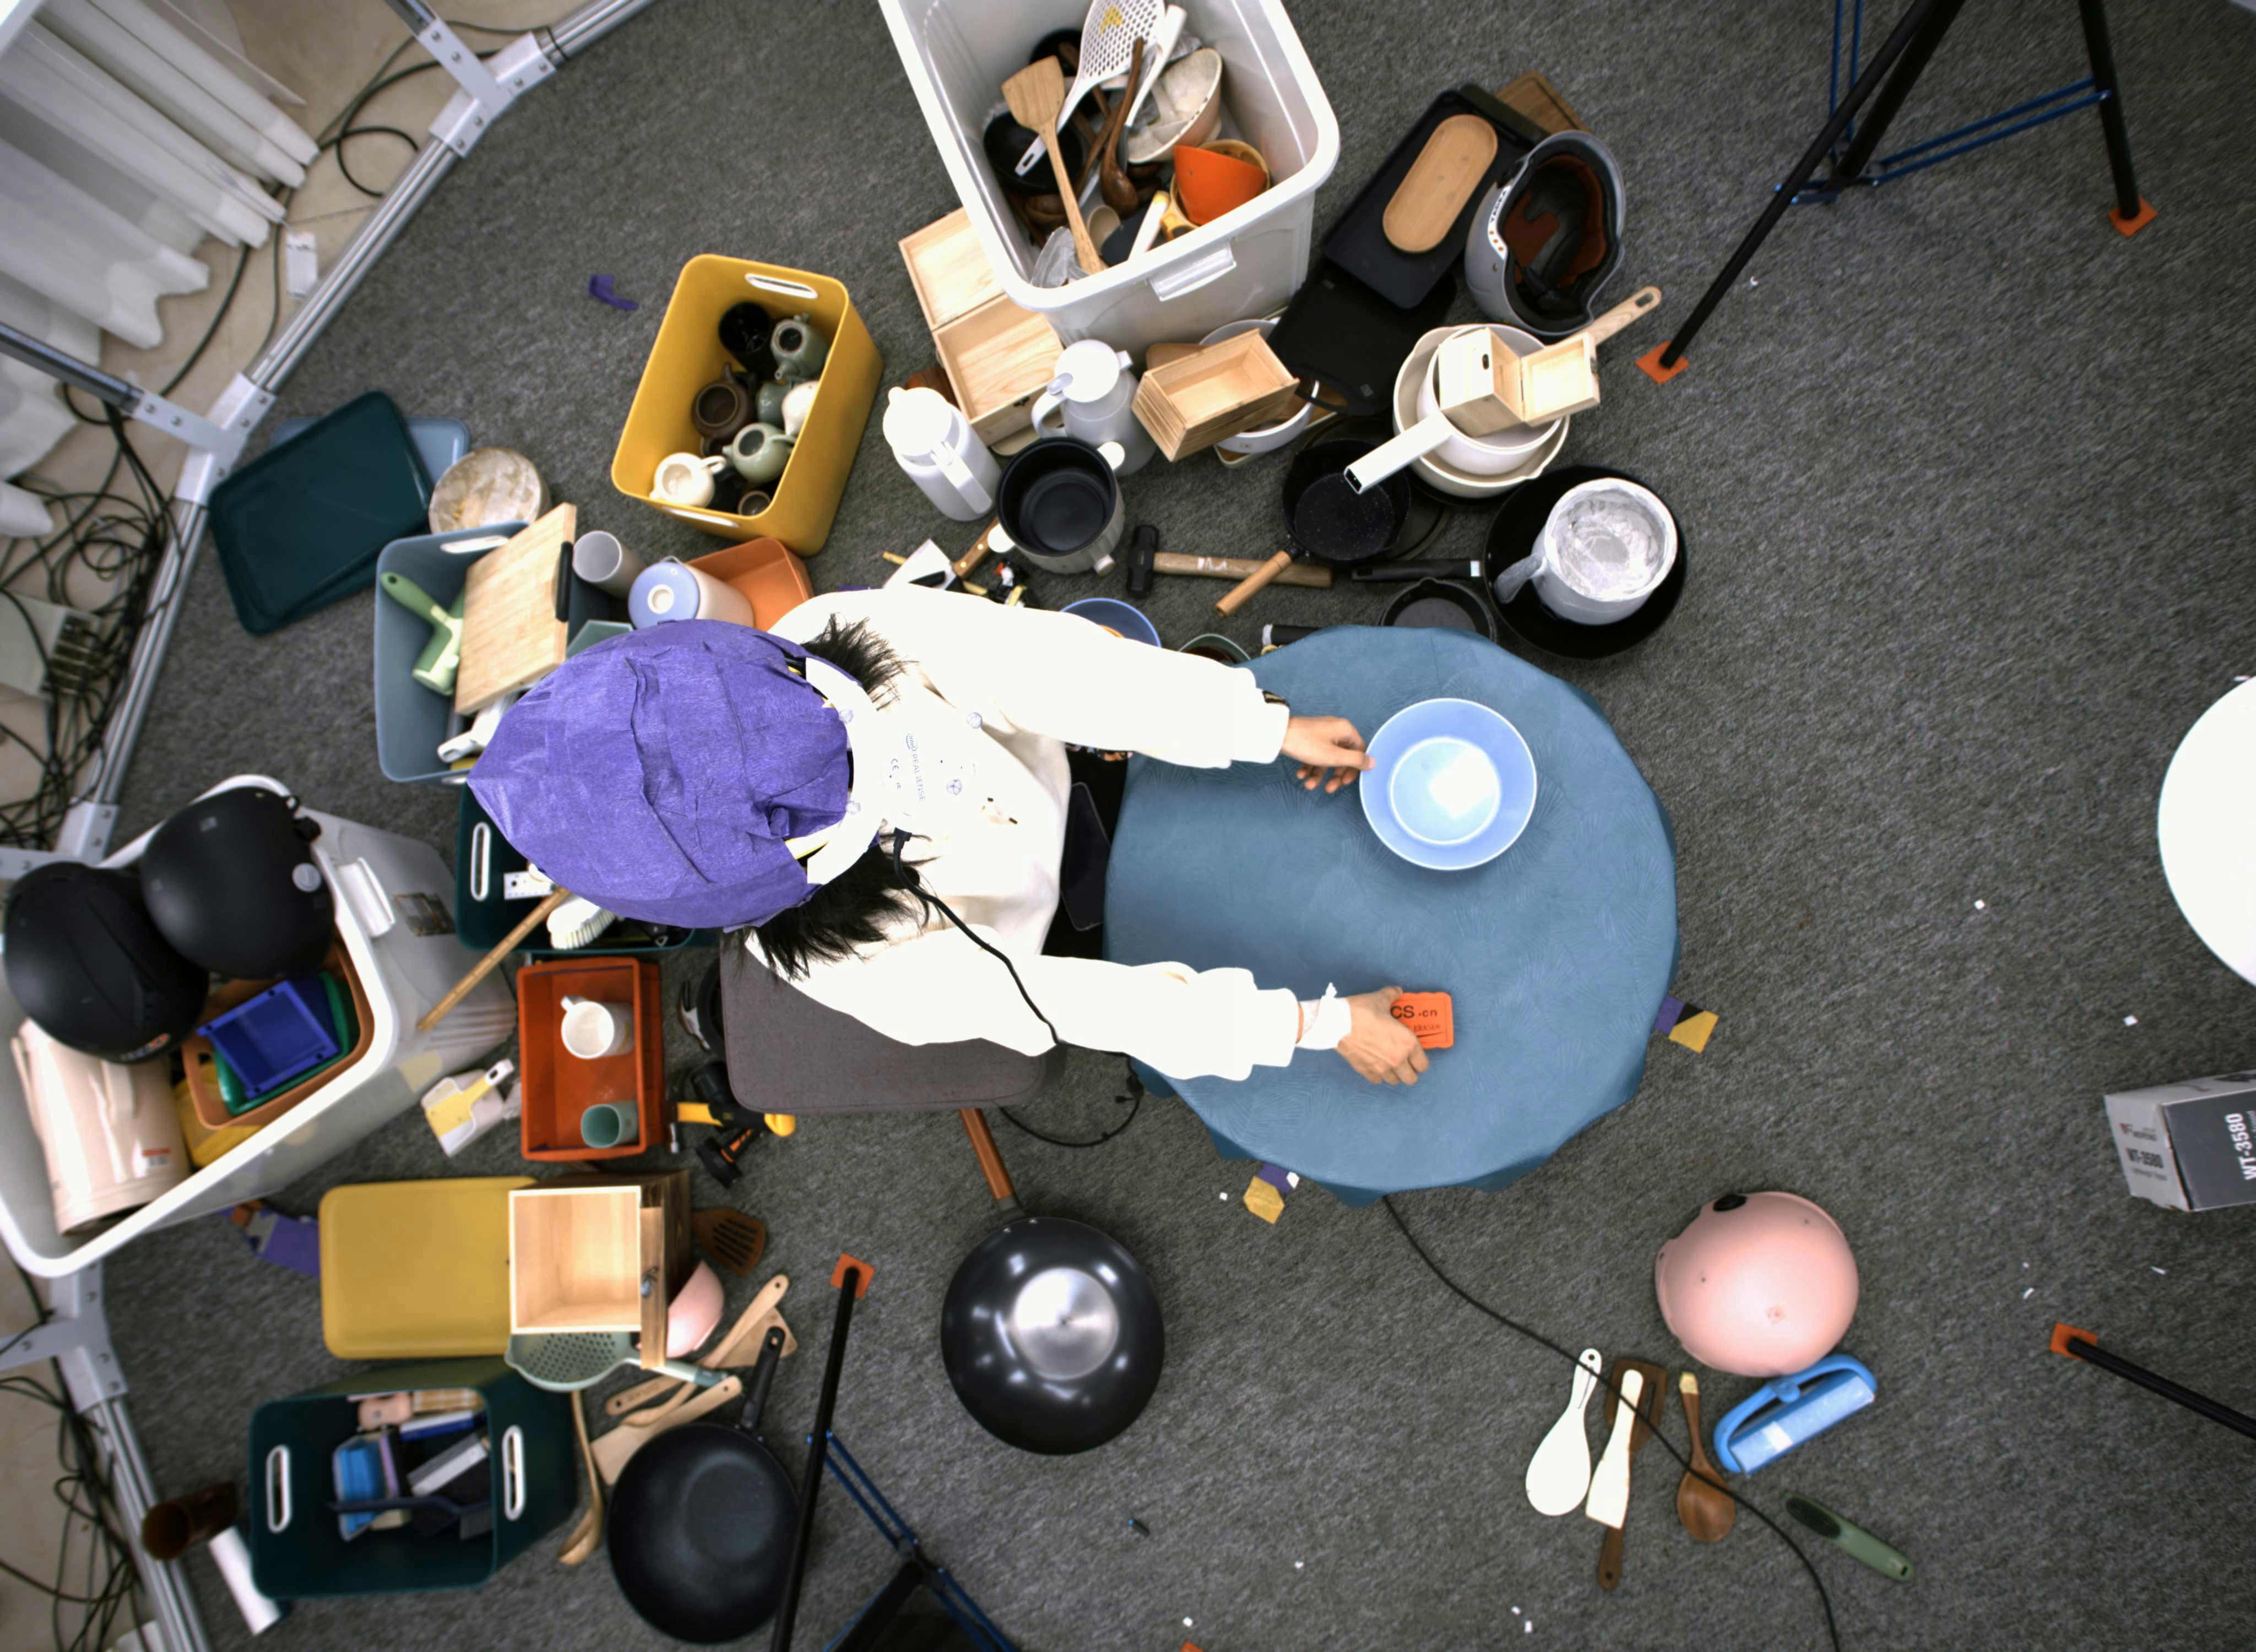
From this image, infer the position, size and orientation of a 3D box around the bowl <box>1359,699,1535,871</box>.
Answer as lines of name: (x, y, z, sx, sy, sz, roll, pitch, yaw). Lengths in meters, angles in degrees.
bowl: (0.326, -0.040, 1.420, 0.177, 0.070, 0.175, -1, 86, 10)

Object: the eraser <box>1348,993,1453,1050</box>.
eraser: (0.283, 0.202, 1.439, 0.108, 0.023, 0.059, -1, 88, 10)
